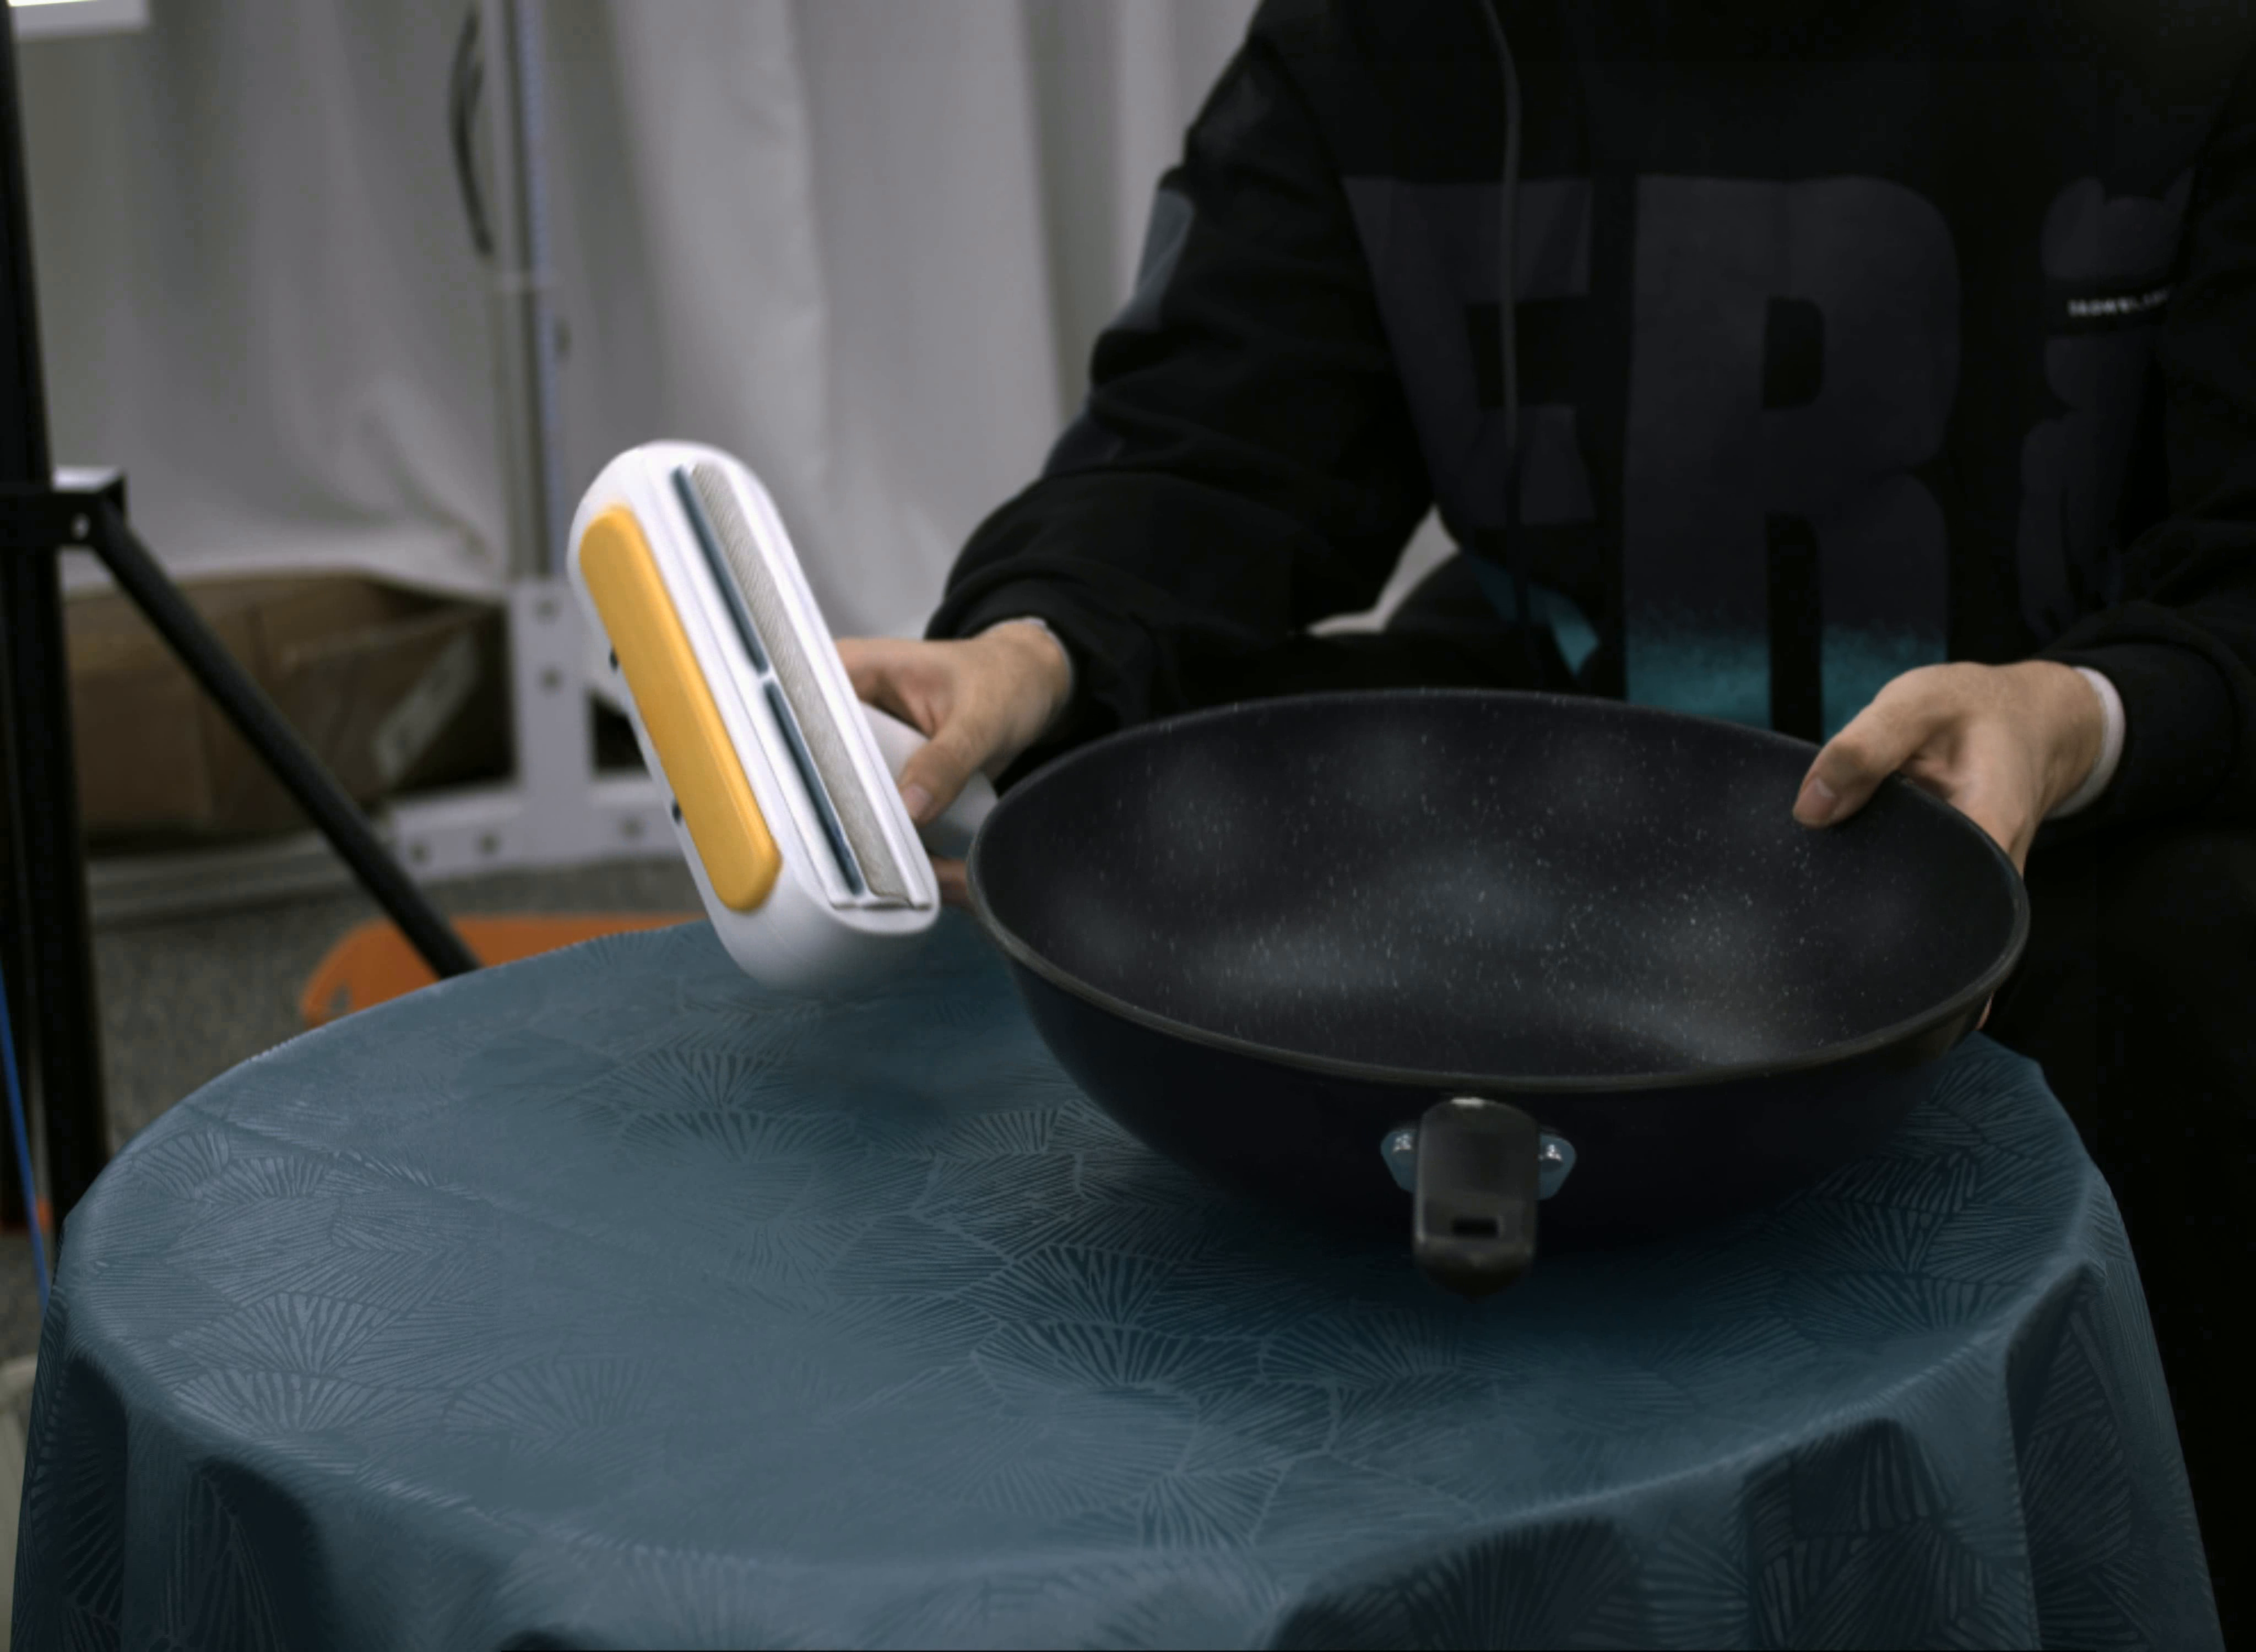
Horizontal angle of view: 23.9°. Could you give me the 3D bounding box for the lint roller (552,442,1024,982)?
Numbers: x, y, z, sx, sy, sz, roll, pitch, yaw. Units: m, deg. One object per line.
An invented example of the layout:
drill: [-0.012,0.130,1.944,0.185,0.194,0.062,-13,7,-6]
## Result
lint roller: [-0.091,-0.025,1.734,0.187,0.075,0.196,12,42,-49]

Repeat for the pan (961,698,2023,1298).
pan: [0.099,0.070,1.479,0.310,0.111,0.477,0,20,5]
